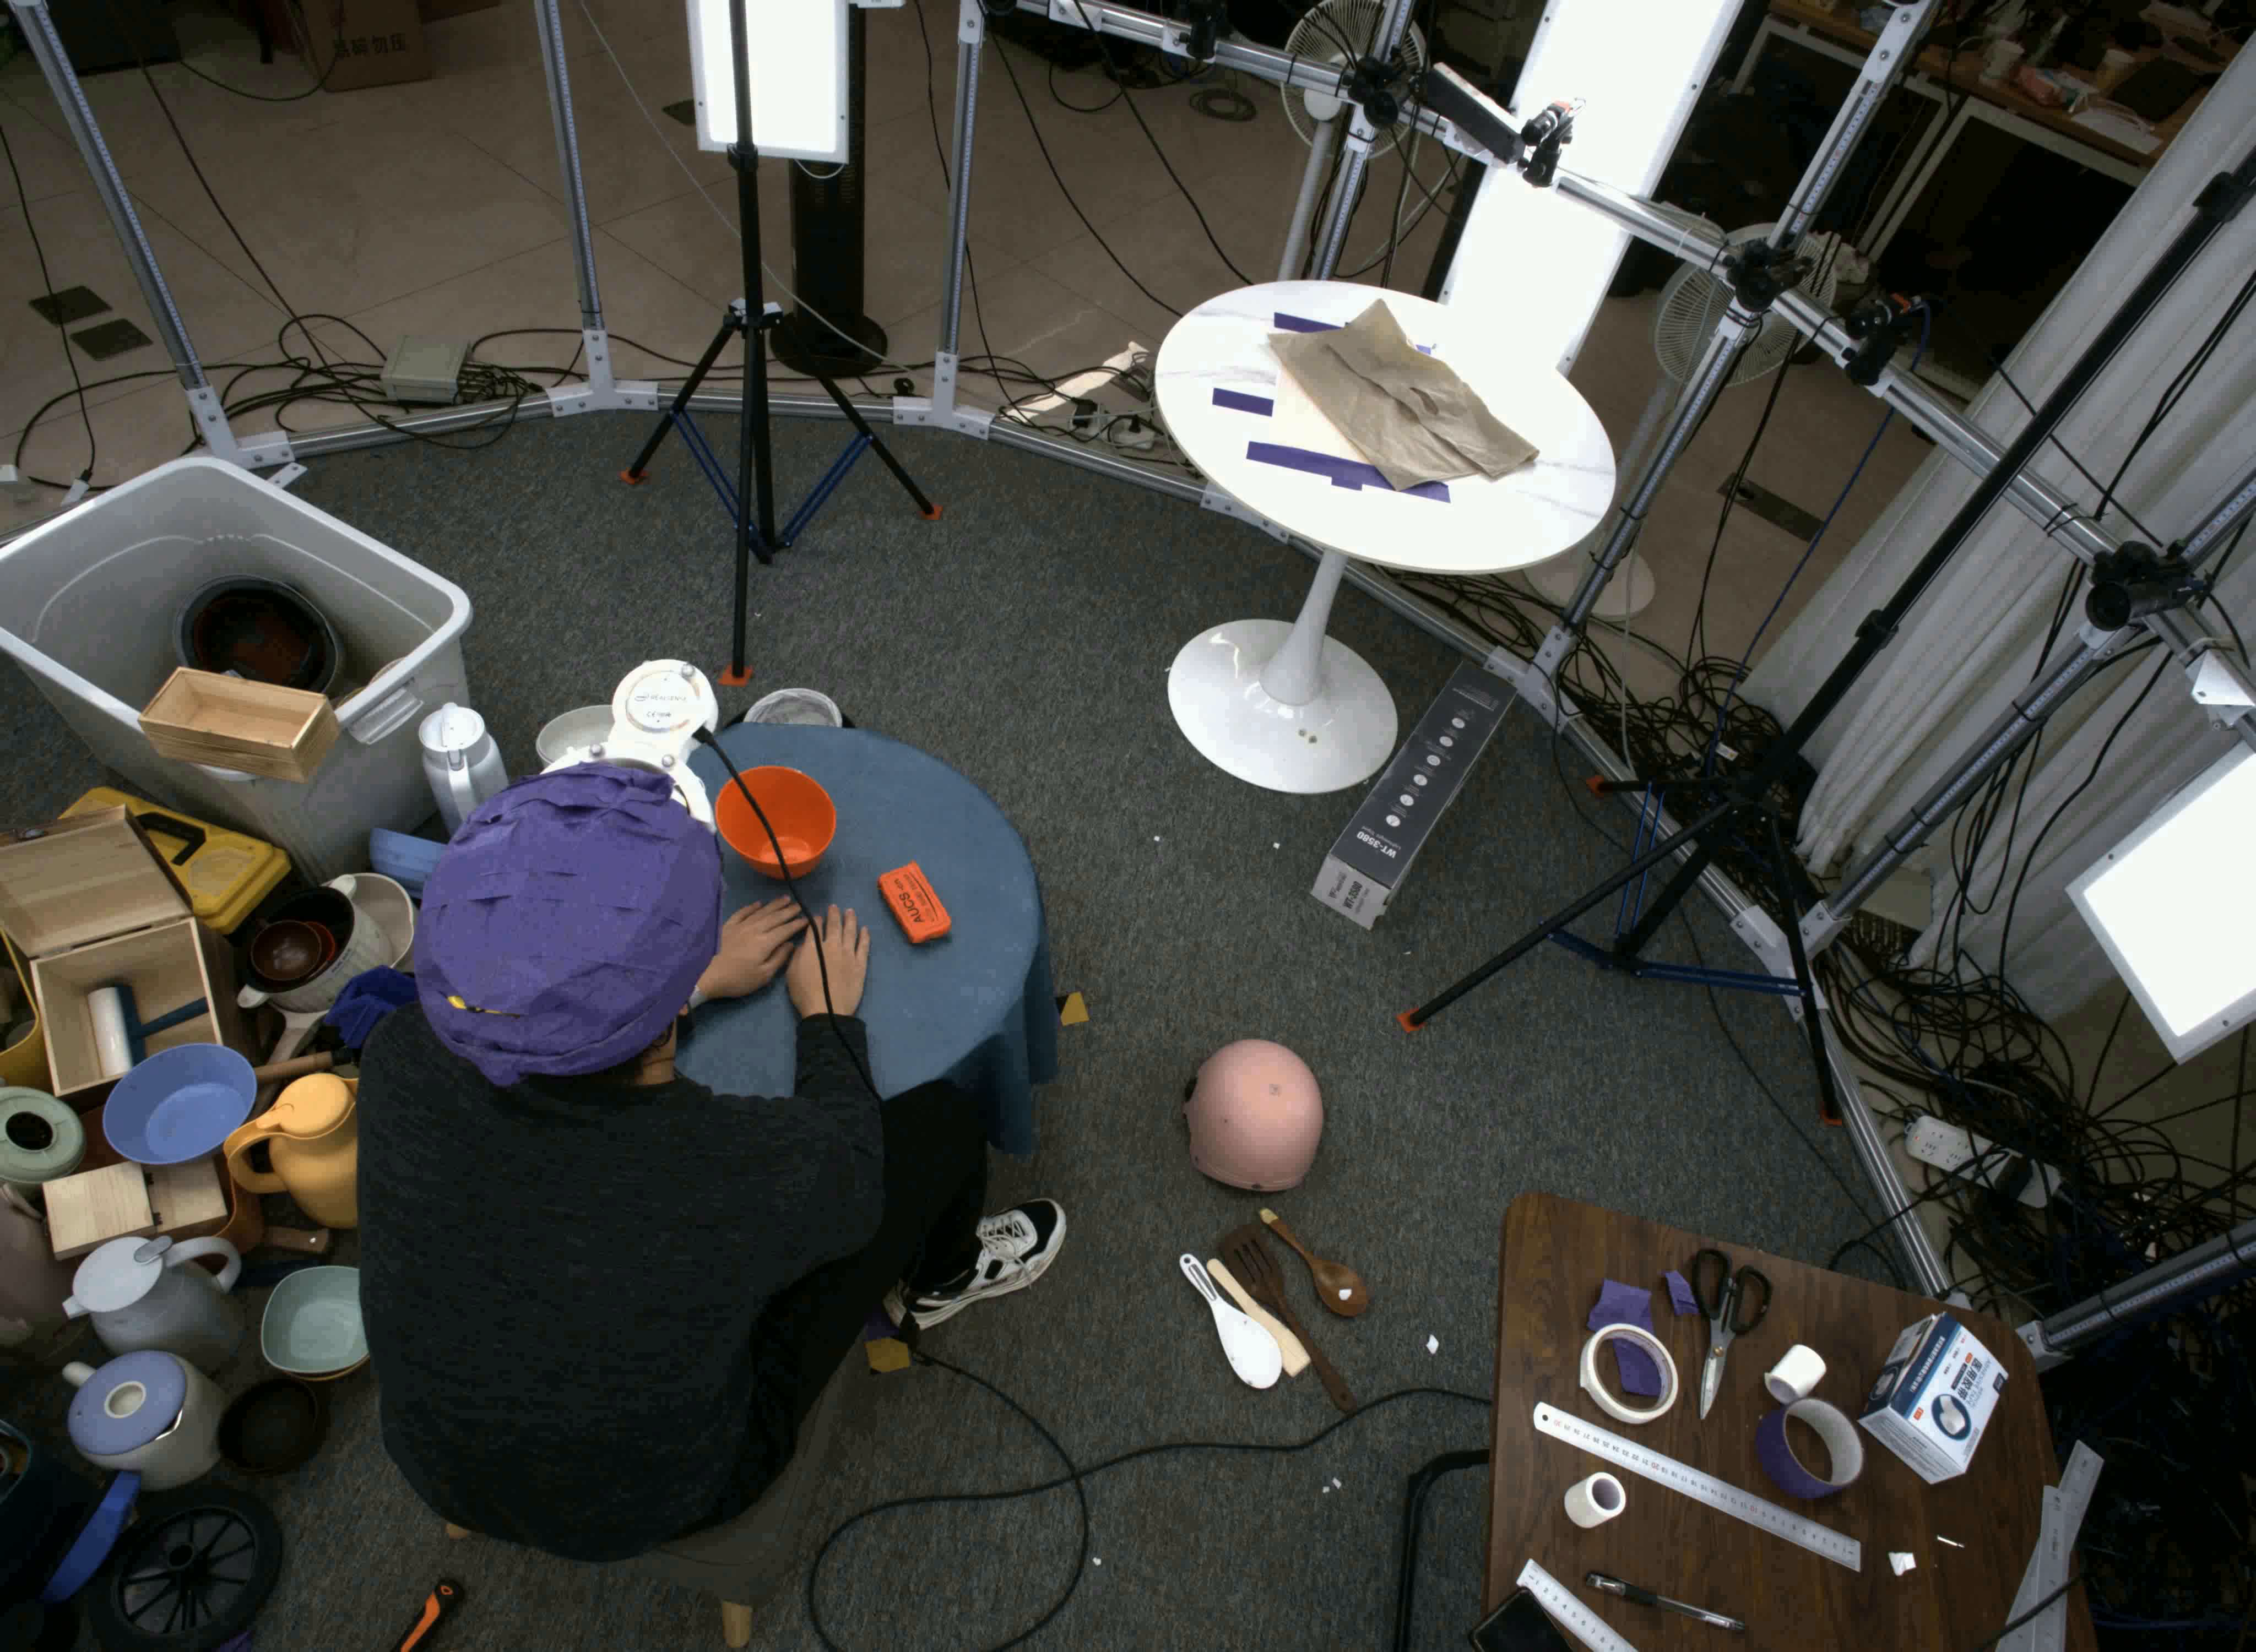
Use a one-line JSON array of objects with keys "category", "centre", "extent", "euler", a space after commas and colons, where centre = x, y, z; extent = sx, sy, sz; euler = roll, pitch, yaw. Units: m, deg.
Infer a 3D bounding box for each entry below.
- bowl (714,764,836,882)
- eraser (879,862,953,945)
[{"category": "bowl", "centre": [-0.444, 0.008, 1.643], "extent": [0.148, 0.107, 0.145], "euler": [8, 51, -8]}, {"category": "eraser", "centre": [-0.273, 0.097, 1.667], "extent": [0.059, 0.023, 0.105], "euler": [-22, 61, -29]}]
